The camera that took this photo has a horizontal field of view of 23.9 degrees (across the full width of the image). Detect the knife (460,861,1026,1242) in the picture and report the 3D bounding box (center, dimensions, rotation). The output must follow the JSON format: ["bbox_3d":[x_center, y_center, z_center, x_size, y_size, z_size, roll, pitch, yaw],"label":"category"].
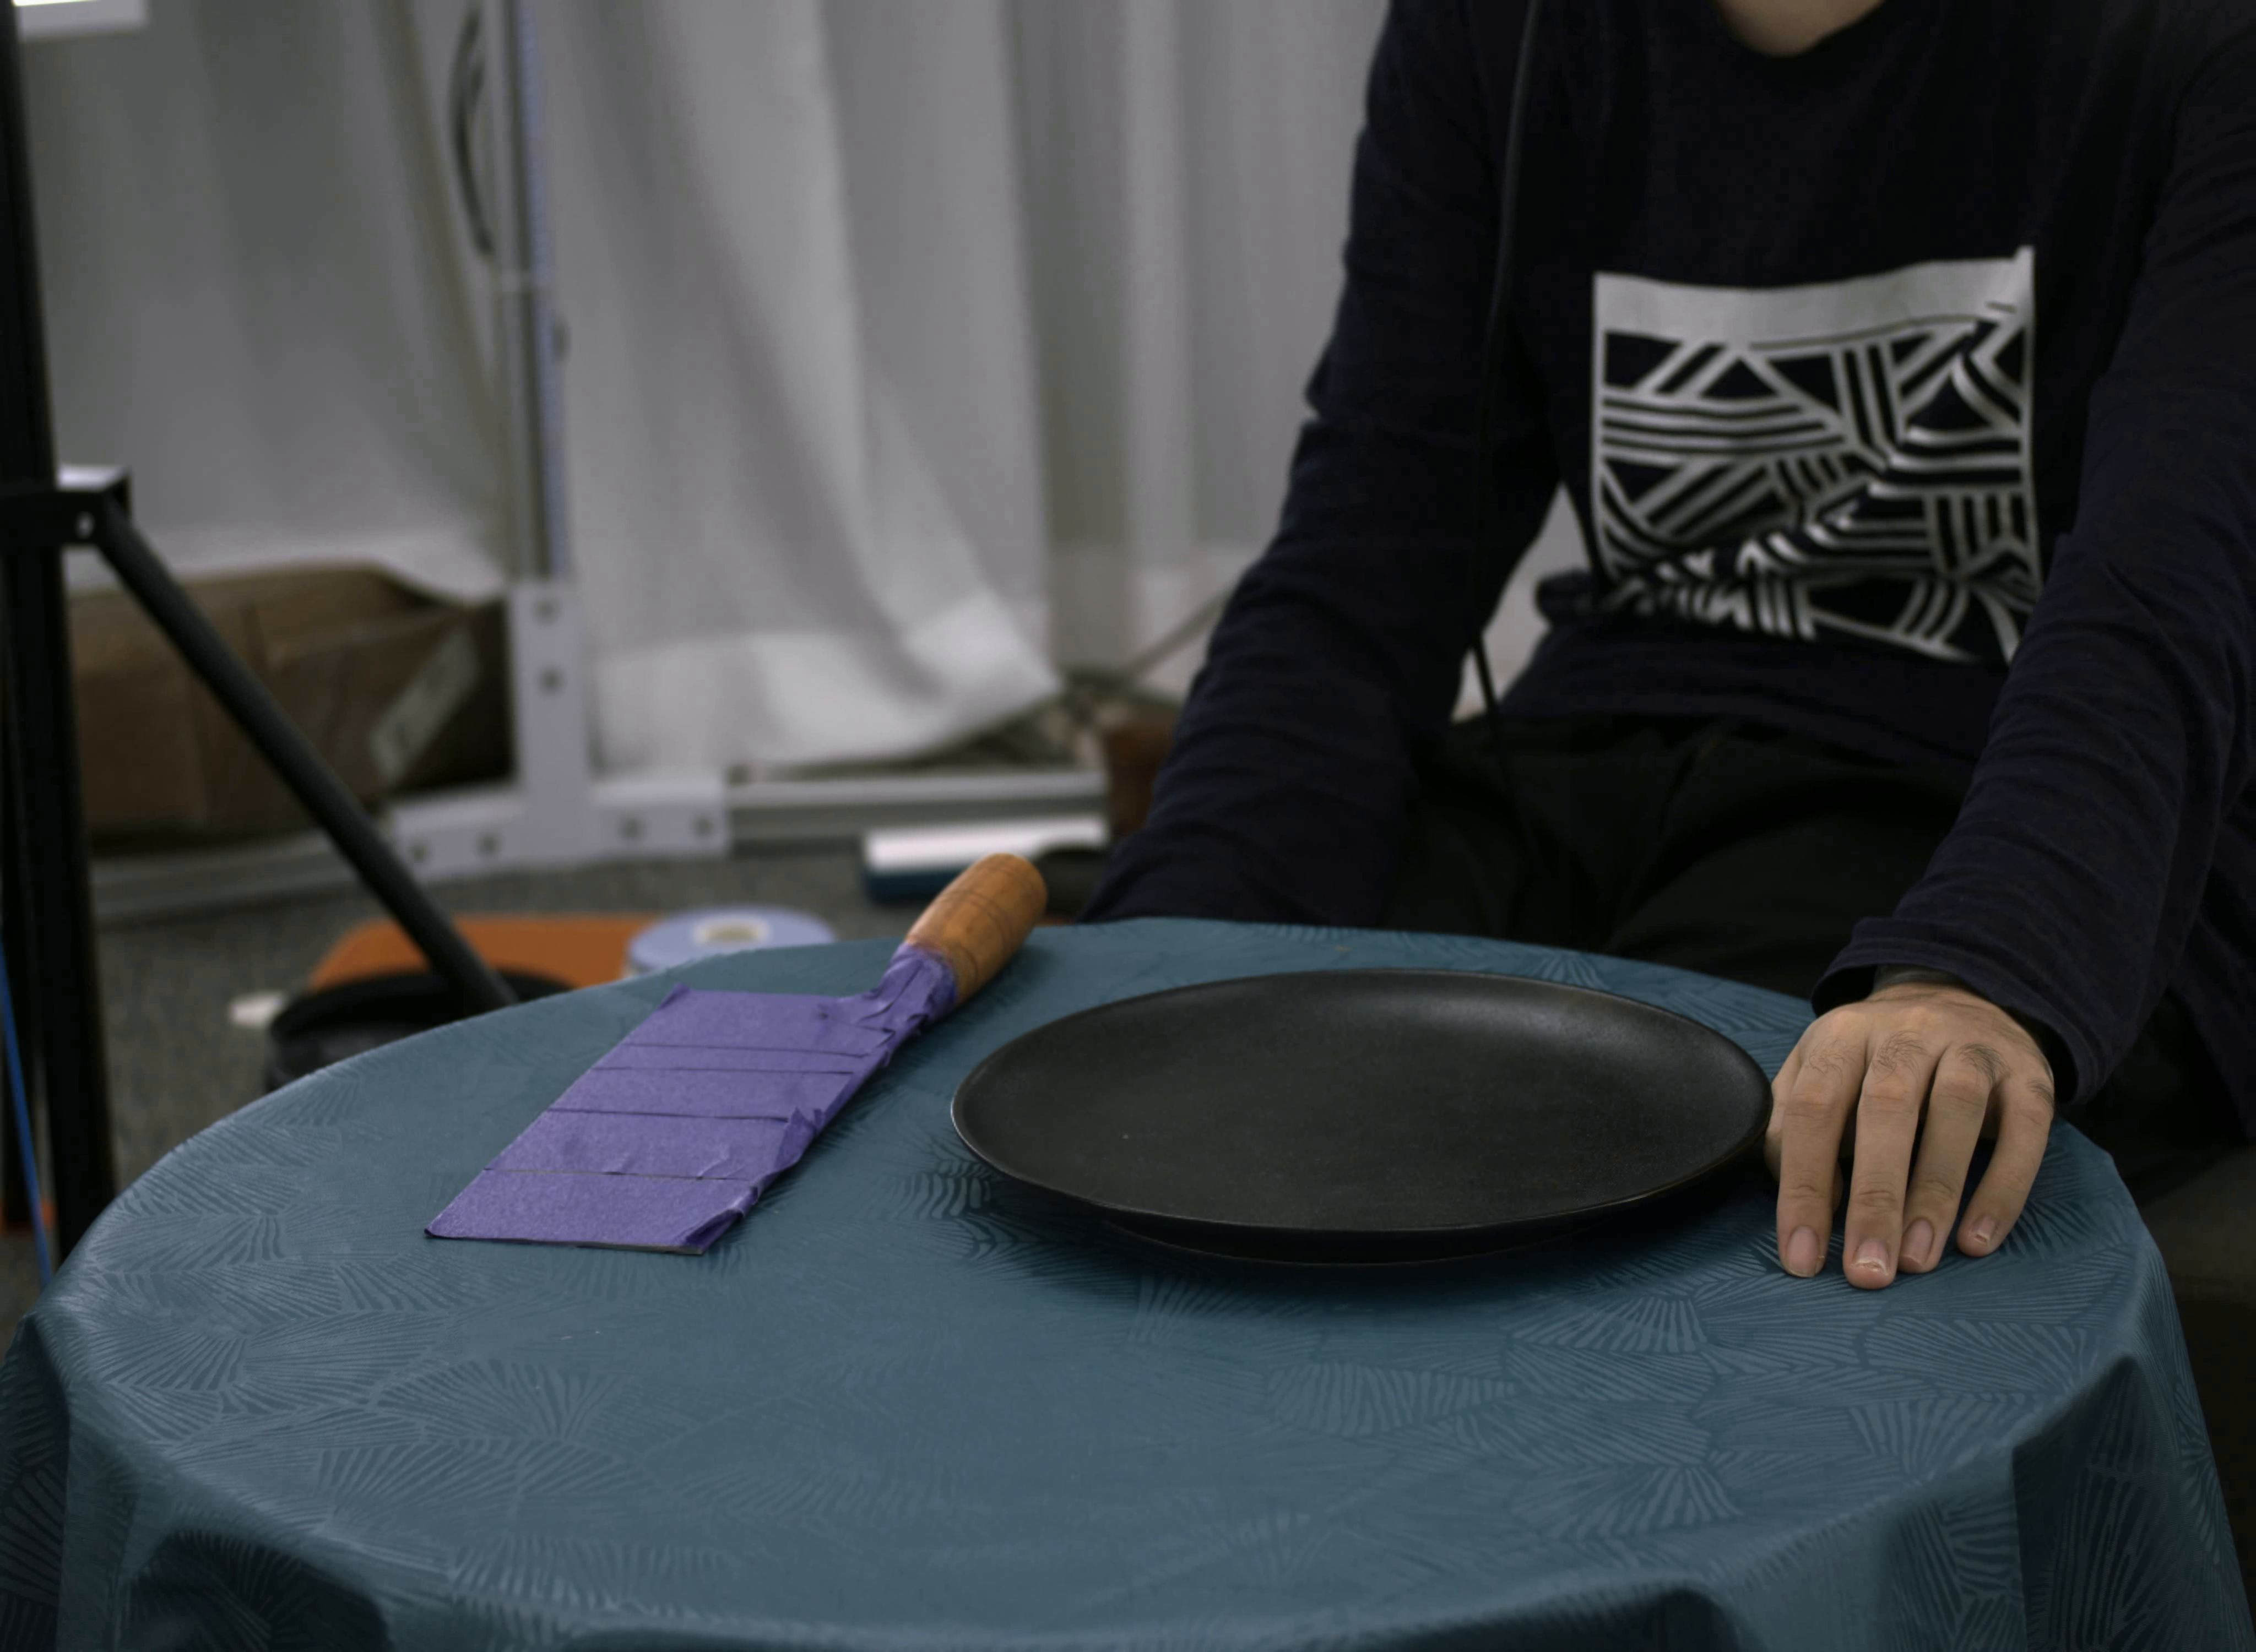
[{"bbox_3d":[-0.118,0.068,1.674,0.105,0.032,0.312,3,17,16],"label":"knife"}]

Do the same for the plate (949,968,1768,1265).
[{"bbox_3d":[0.068,0.089,1.578,0.243,0.023,0.245,-3,16,-1],"label":"plate"}]
